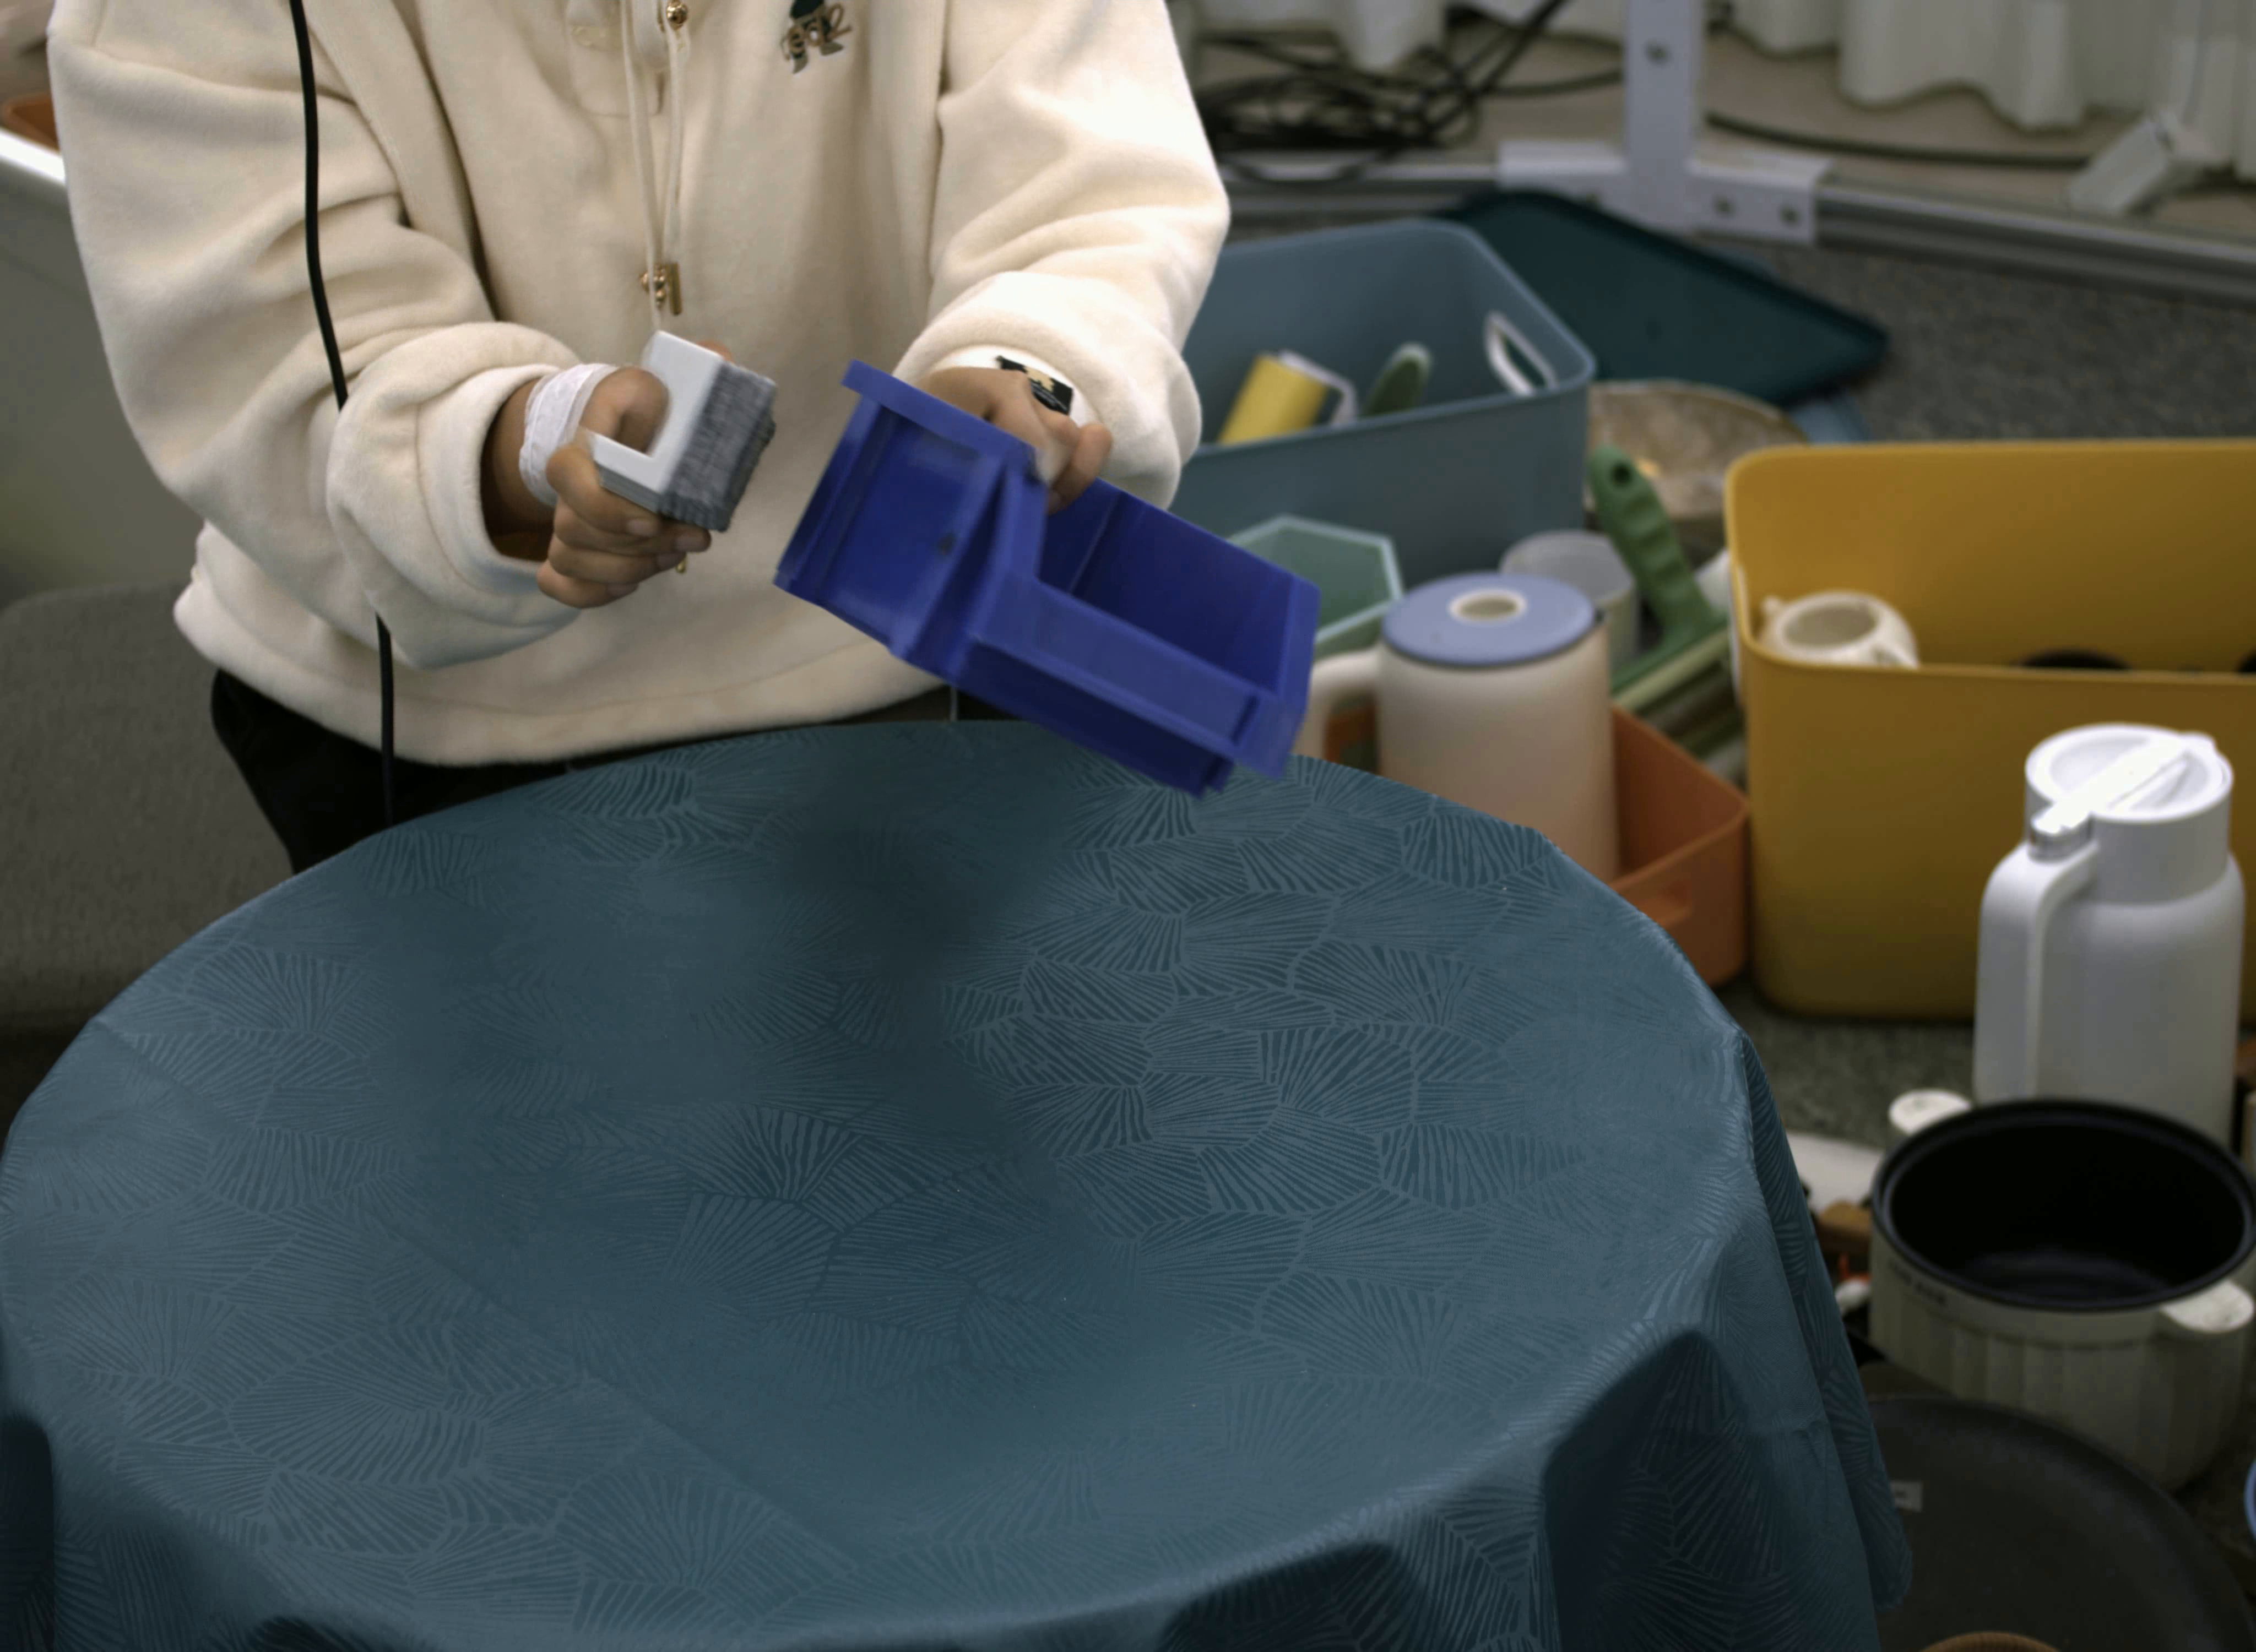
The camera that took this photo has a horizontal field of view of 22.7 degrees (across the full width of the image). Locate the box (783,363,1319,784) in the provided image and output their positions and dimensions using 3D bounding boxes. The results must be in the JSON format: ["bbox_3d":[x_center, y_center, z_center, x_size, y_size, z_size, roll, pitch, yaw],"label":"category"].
[{"bbox_3d":[-0.023,-0.080,1.841,0.124,0.082,0.179,25,0,-25],"label":"box"}]

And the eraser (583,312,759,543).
[{"bbox_3d":[-0.152,-0.131,1.884,0.046,0.050,0.133,23,-6,-4],"label":"eraser"}]
